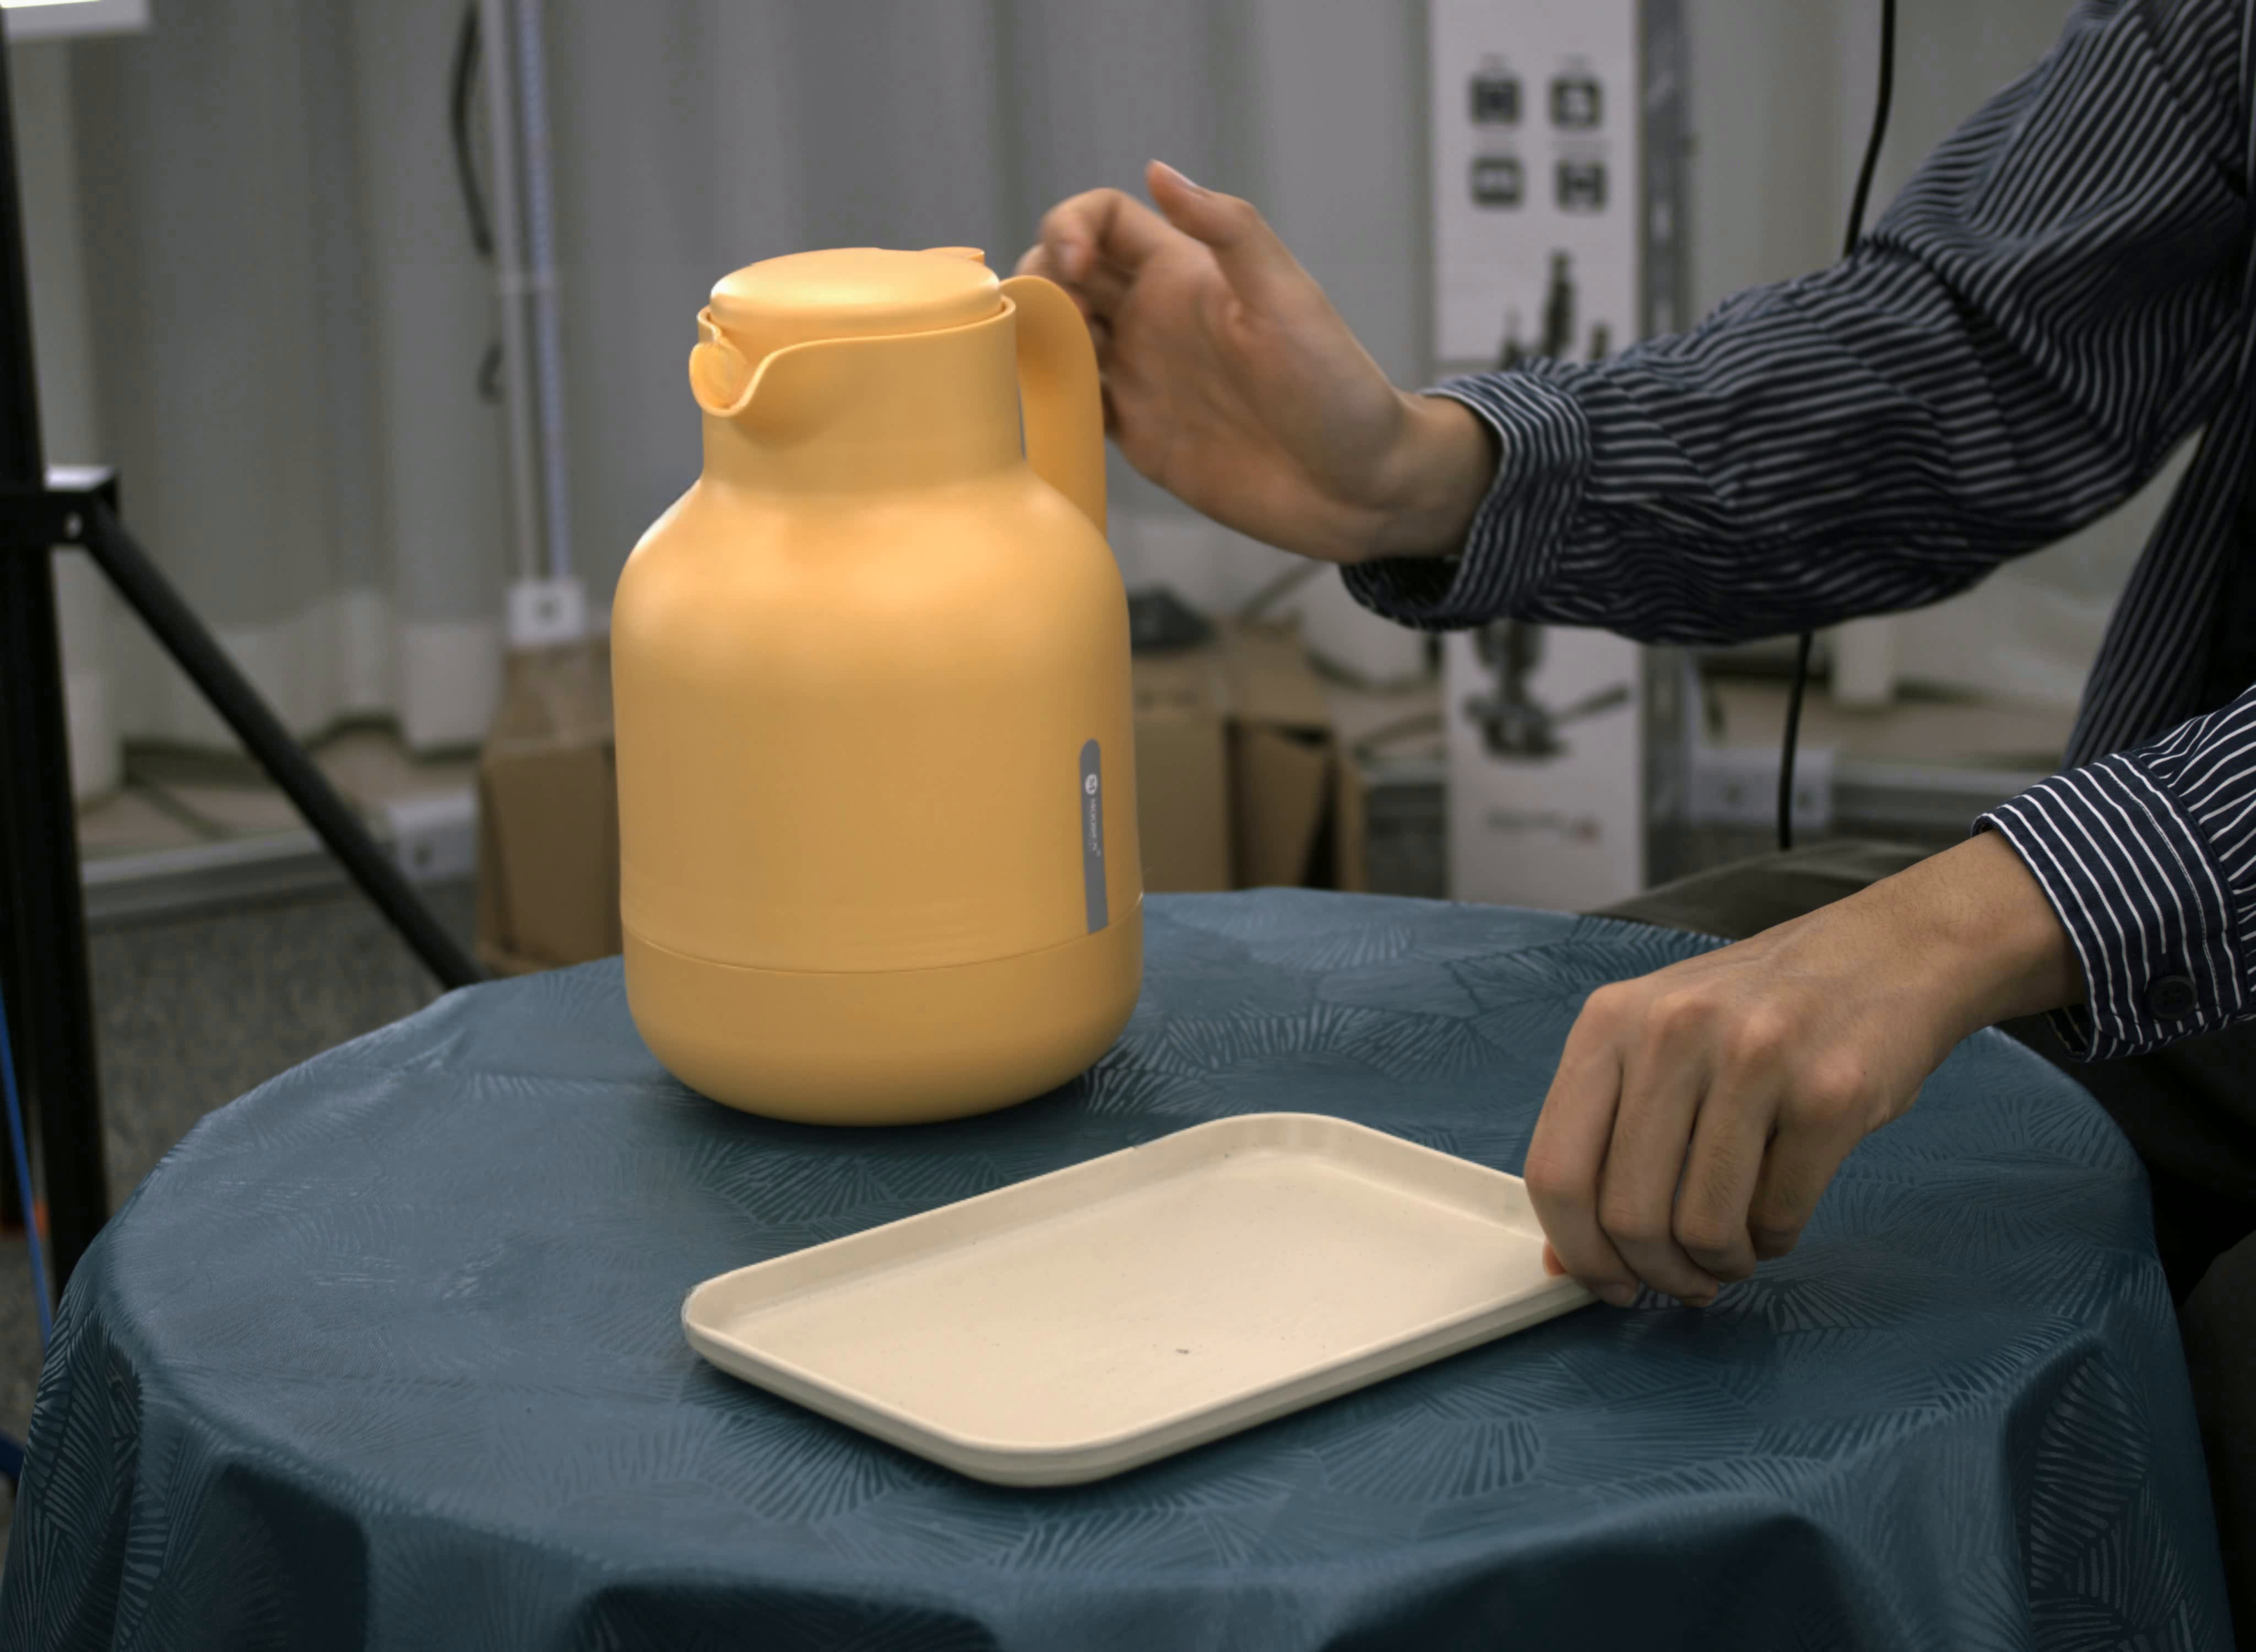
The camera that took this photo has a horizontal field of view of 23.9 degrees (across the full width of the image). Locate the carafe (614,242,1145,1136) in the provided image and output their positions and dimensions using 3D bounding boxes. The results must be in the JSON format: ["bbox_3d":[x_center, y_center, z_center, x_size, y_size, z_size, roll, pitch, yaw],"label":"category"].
[{"bbox_3d":[-0.067,-0.050,1.651,0.166,0.260,0.199,9,19,28],"label":"carafe"}]

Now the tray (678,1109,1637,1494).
[{"bbox_3d":[0.010,0.129,1.457,0.234,0.017,0.175,-15,21,-37],"label":"tray"}]
